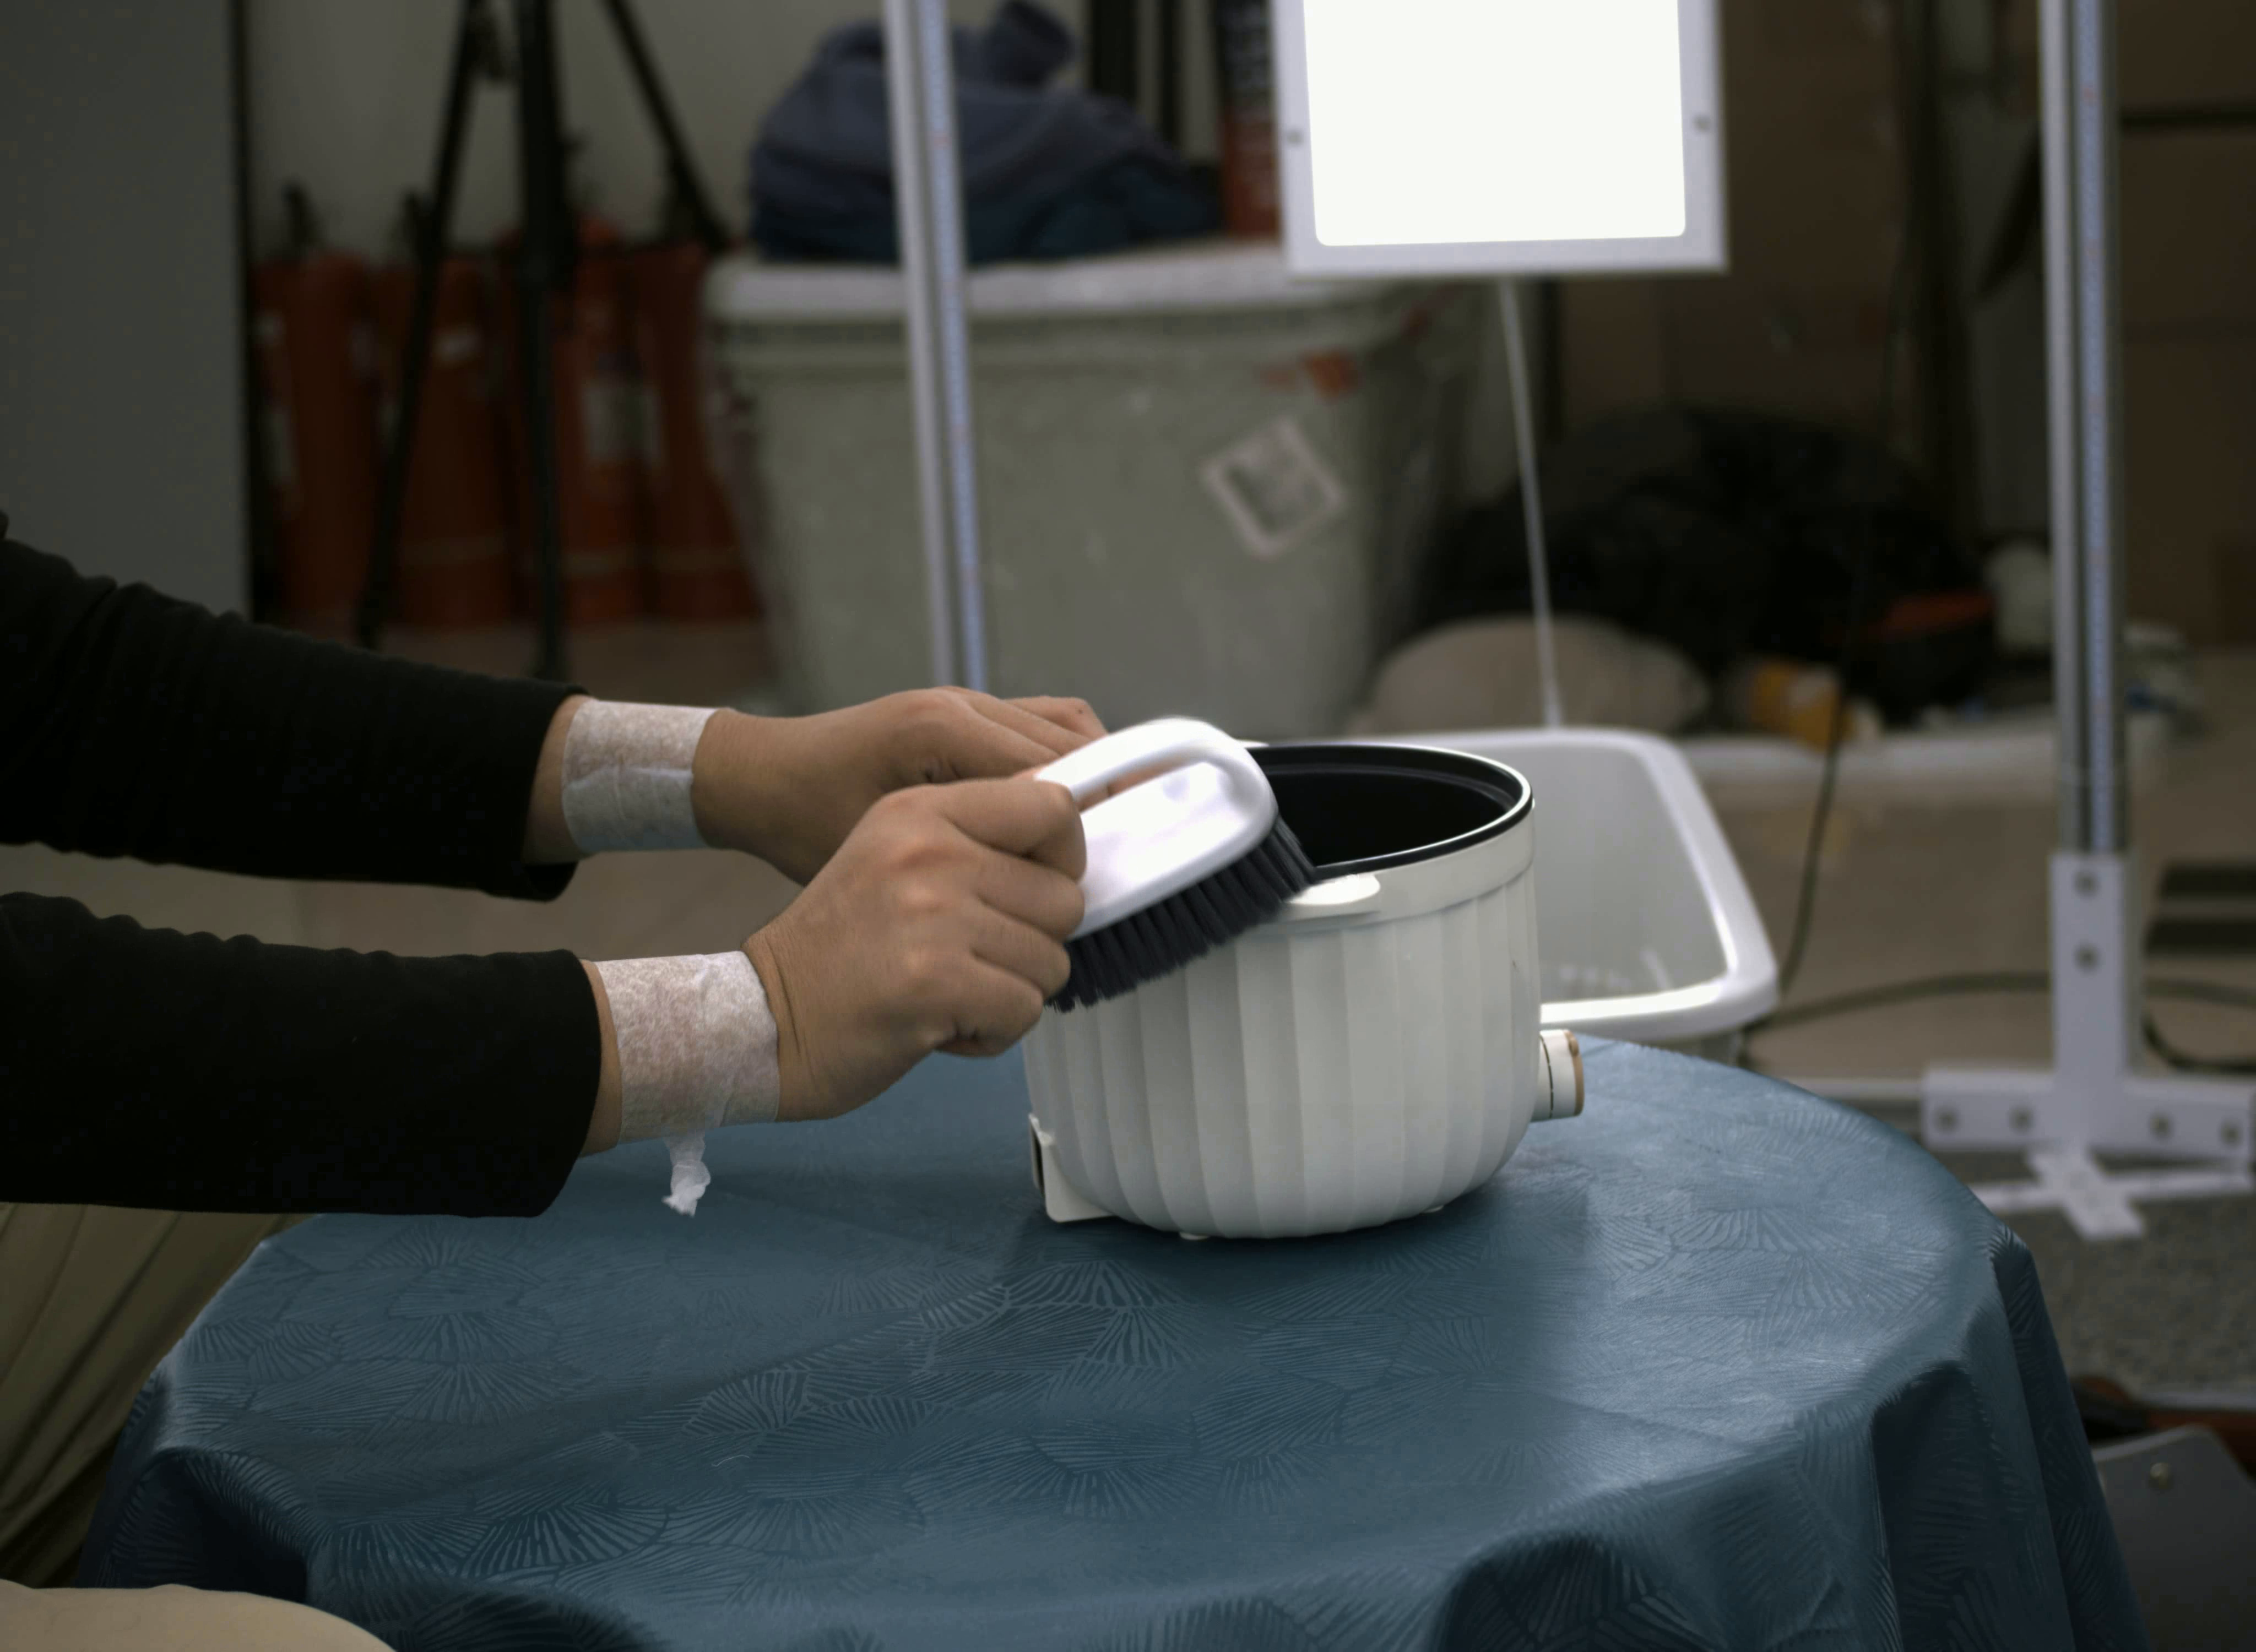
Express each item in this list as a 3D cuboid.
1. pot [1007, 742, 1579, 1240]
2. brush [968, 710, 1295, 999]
[{"bbox_3d":[0.055,0.057,1.873,0.189,0.143,0.241,-9,15,-6],"label":"pot"},{"bbox_3d":[-0.004,0.002,1.737,0.099,0.072,0.050,-26,37,0],"label":"brush"}]
